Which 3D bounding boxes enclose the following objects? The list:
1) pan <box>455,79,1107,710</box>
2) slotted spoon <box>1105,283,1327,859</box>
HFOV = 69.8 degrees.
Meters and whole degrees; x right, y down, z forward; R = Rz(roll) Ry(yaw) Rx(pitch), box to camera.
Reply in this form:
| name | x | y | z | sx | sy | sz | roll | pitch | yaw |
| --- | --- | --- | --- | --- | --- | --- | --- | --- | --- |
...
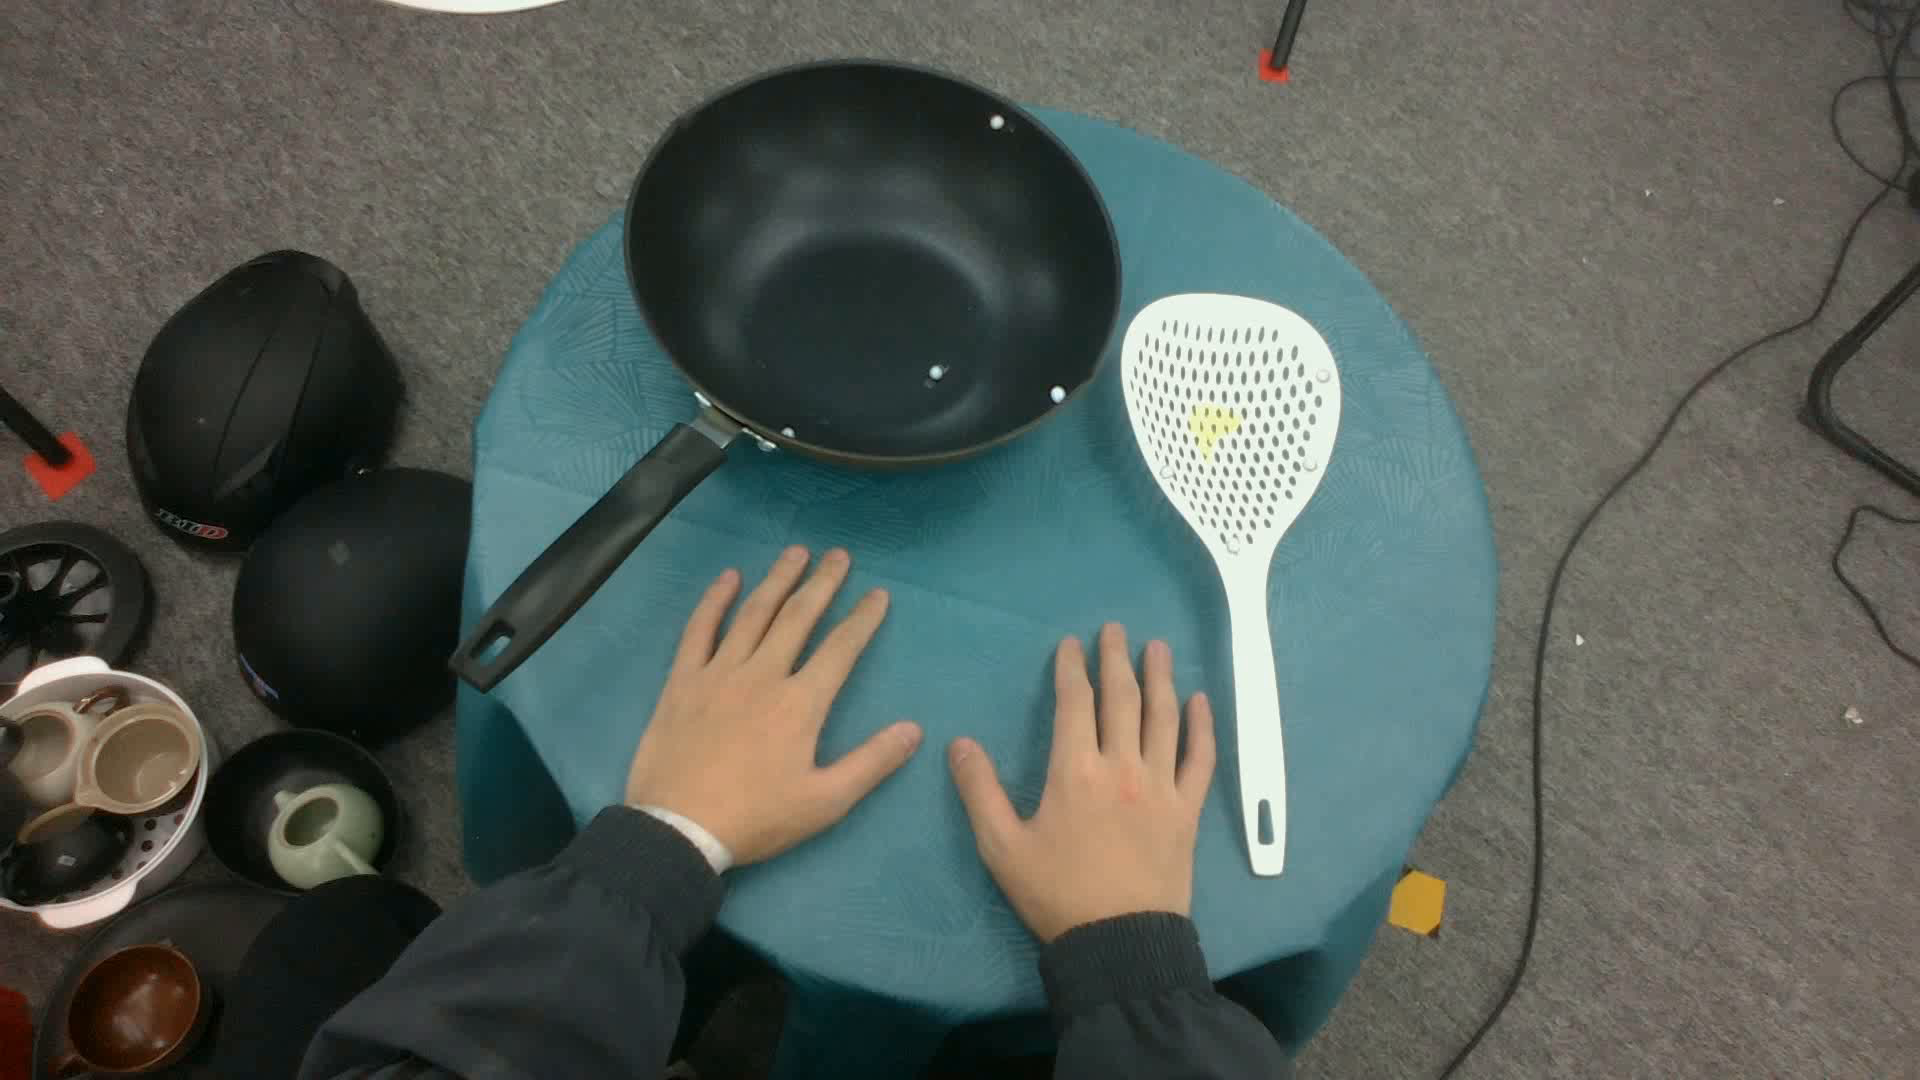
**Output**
| name | x | y | z | sx | sy | sz | roll | pitch | yaw |
| --- | --- | --- | --- | --- | --- | --- | --- | --- | --- |
| pan | -0.106 | -0.076 | 0.784 | 0.288 | 0.086 | 0.465 | 31 | 64 | 10 |
| slotted spoon | 0.158 | 0.005 | 0.794 | 0.137 | 0.050 | 0.349 | 1 | 62 | -8 |
